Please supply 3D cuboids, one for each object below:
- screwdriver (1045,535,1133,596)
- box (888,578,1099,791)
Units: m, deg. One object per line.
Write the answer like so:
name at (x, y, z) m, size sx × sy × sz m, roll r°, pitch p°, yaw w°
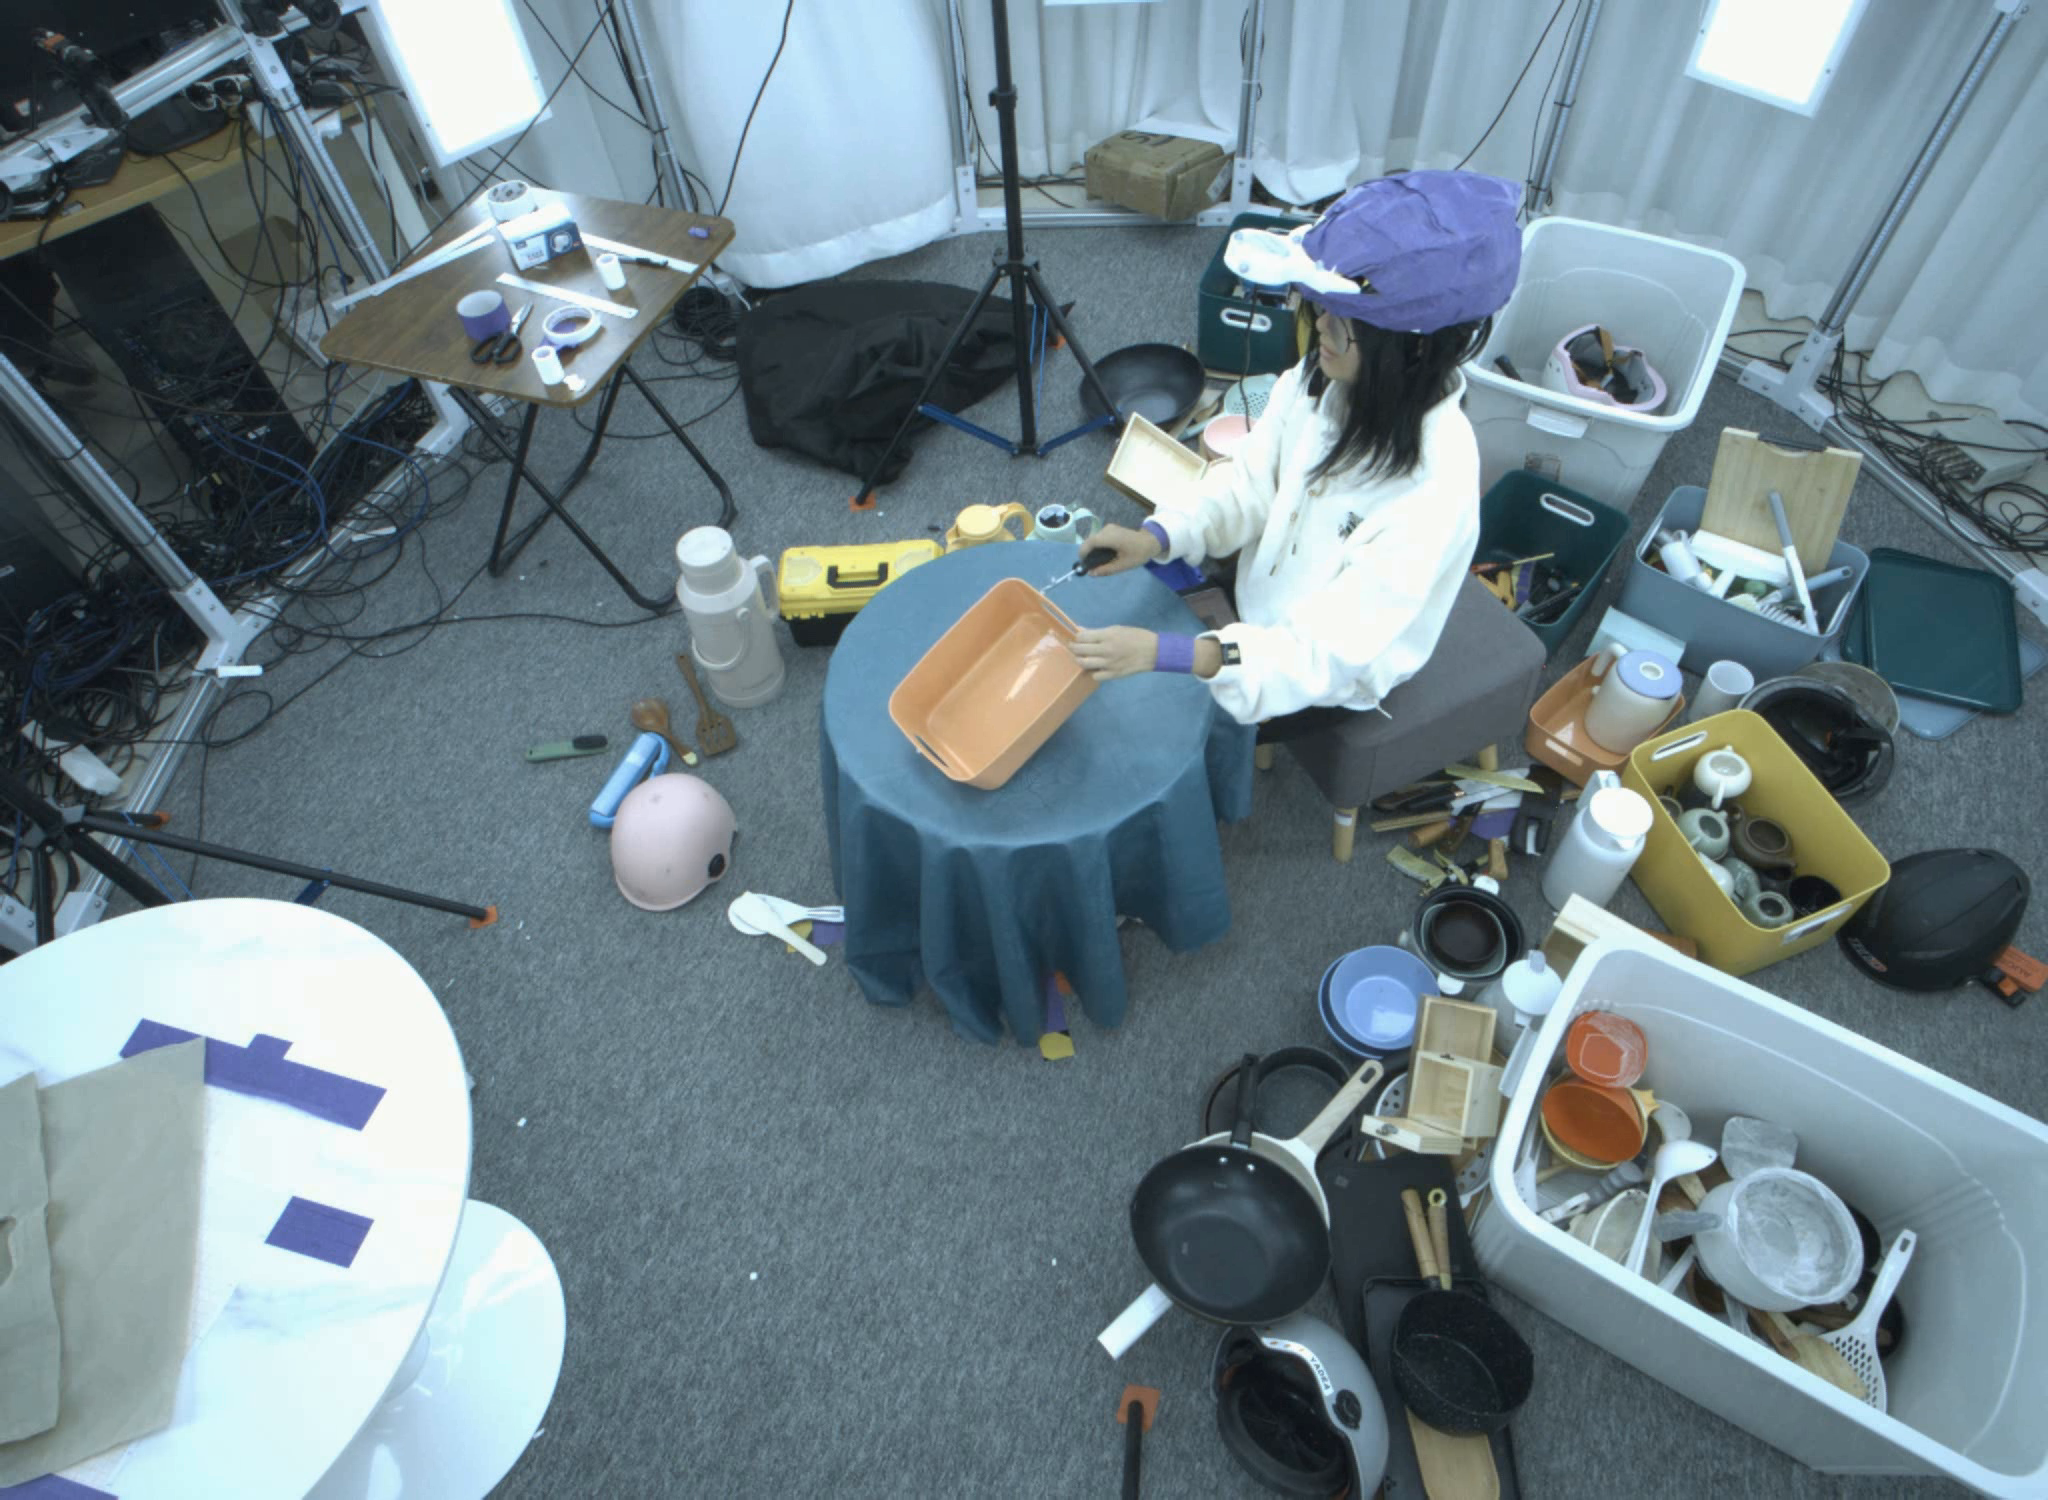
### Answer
screwdriver at (0.093, -0.264, 1.786) m, size 0.031 × 0.032 × 0.199 m, roll 32°, pitch 52°, yaw 23°
box at (-0.035, -0.084, 1.728) m, size 0.273 × 0.104 × 0.196 m, roll -47°, pitch 65°, yaw 3°
